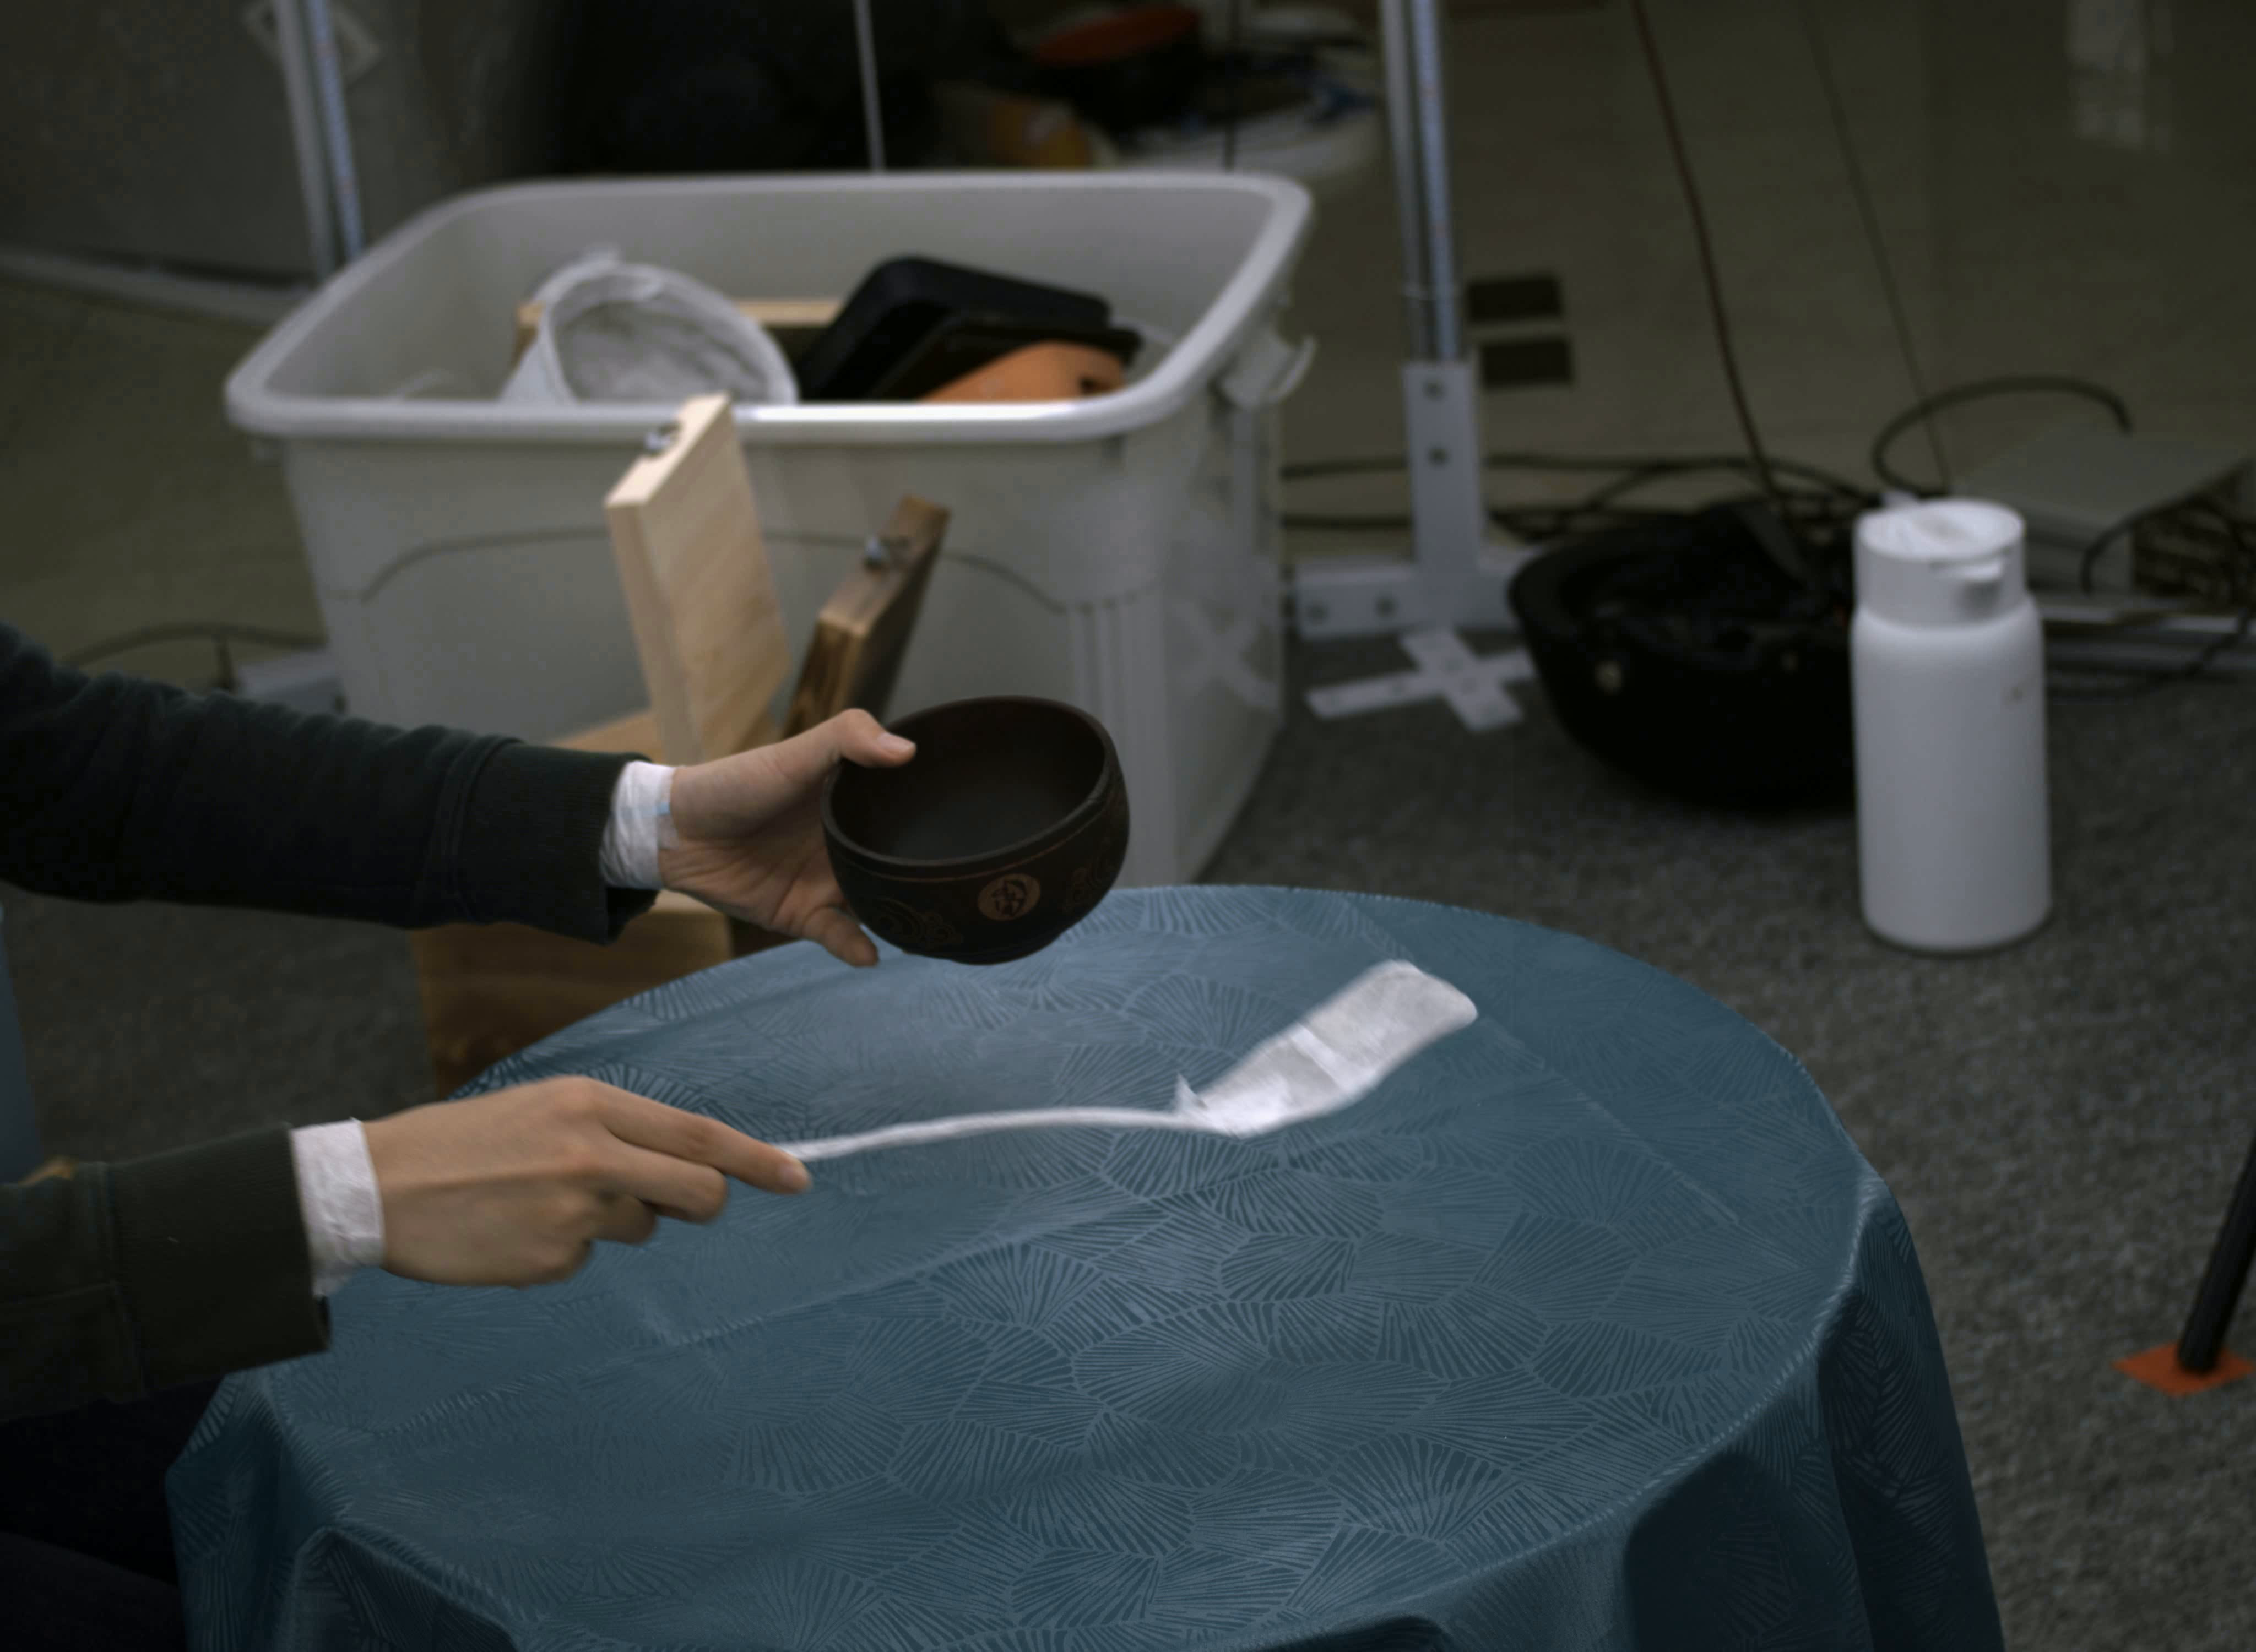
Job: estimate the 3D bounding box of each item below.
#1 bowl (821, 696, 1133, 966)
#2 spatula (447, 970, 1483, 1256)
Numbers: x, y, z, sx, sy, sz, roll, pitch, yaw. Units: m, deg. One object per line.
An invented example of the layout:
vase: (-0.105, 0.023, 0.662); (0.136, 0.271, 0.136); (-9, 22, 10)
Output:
bowl: (-0.054, 0.010, 2.164); (0.118, 0.071, 0.116); (-9, 32, 6)
spatula: (-0.055, 0.103, 1.951); (0.364, 0.045, 0.098); (-8, 14, -10)
